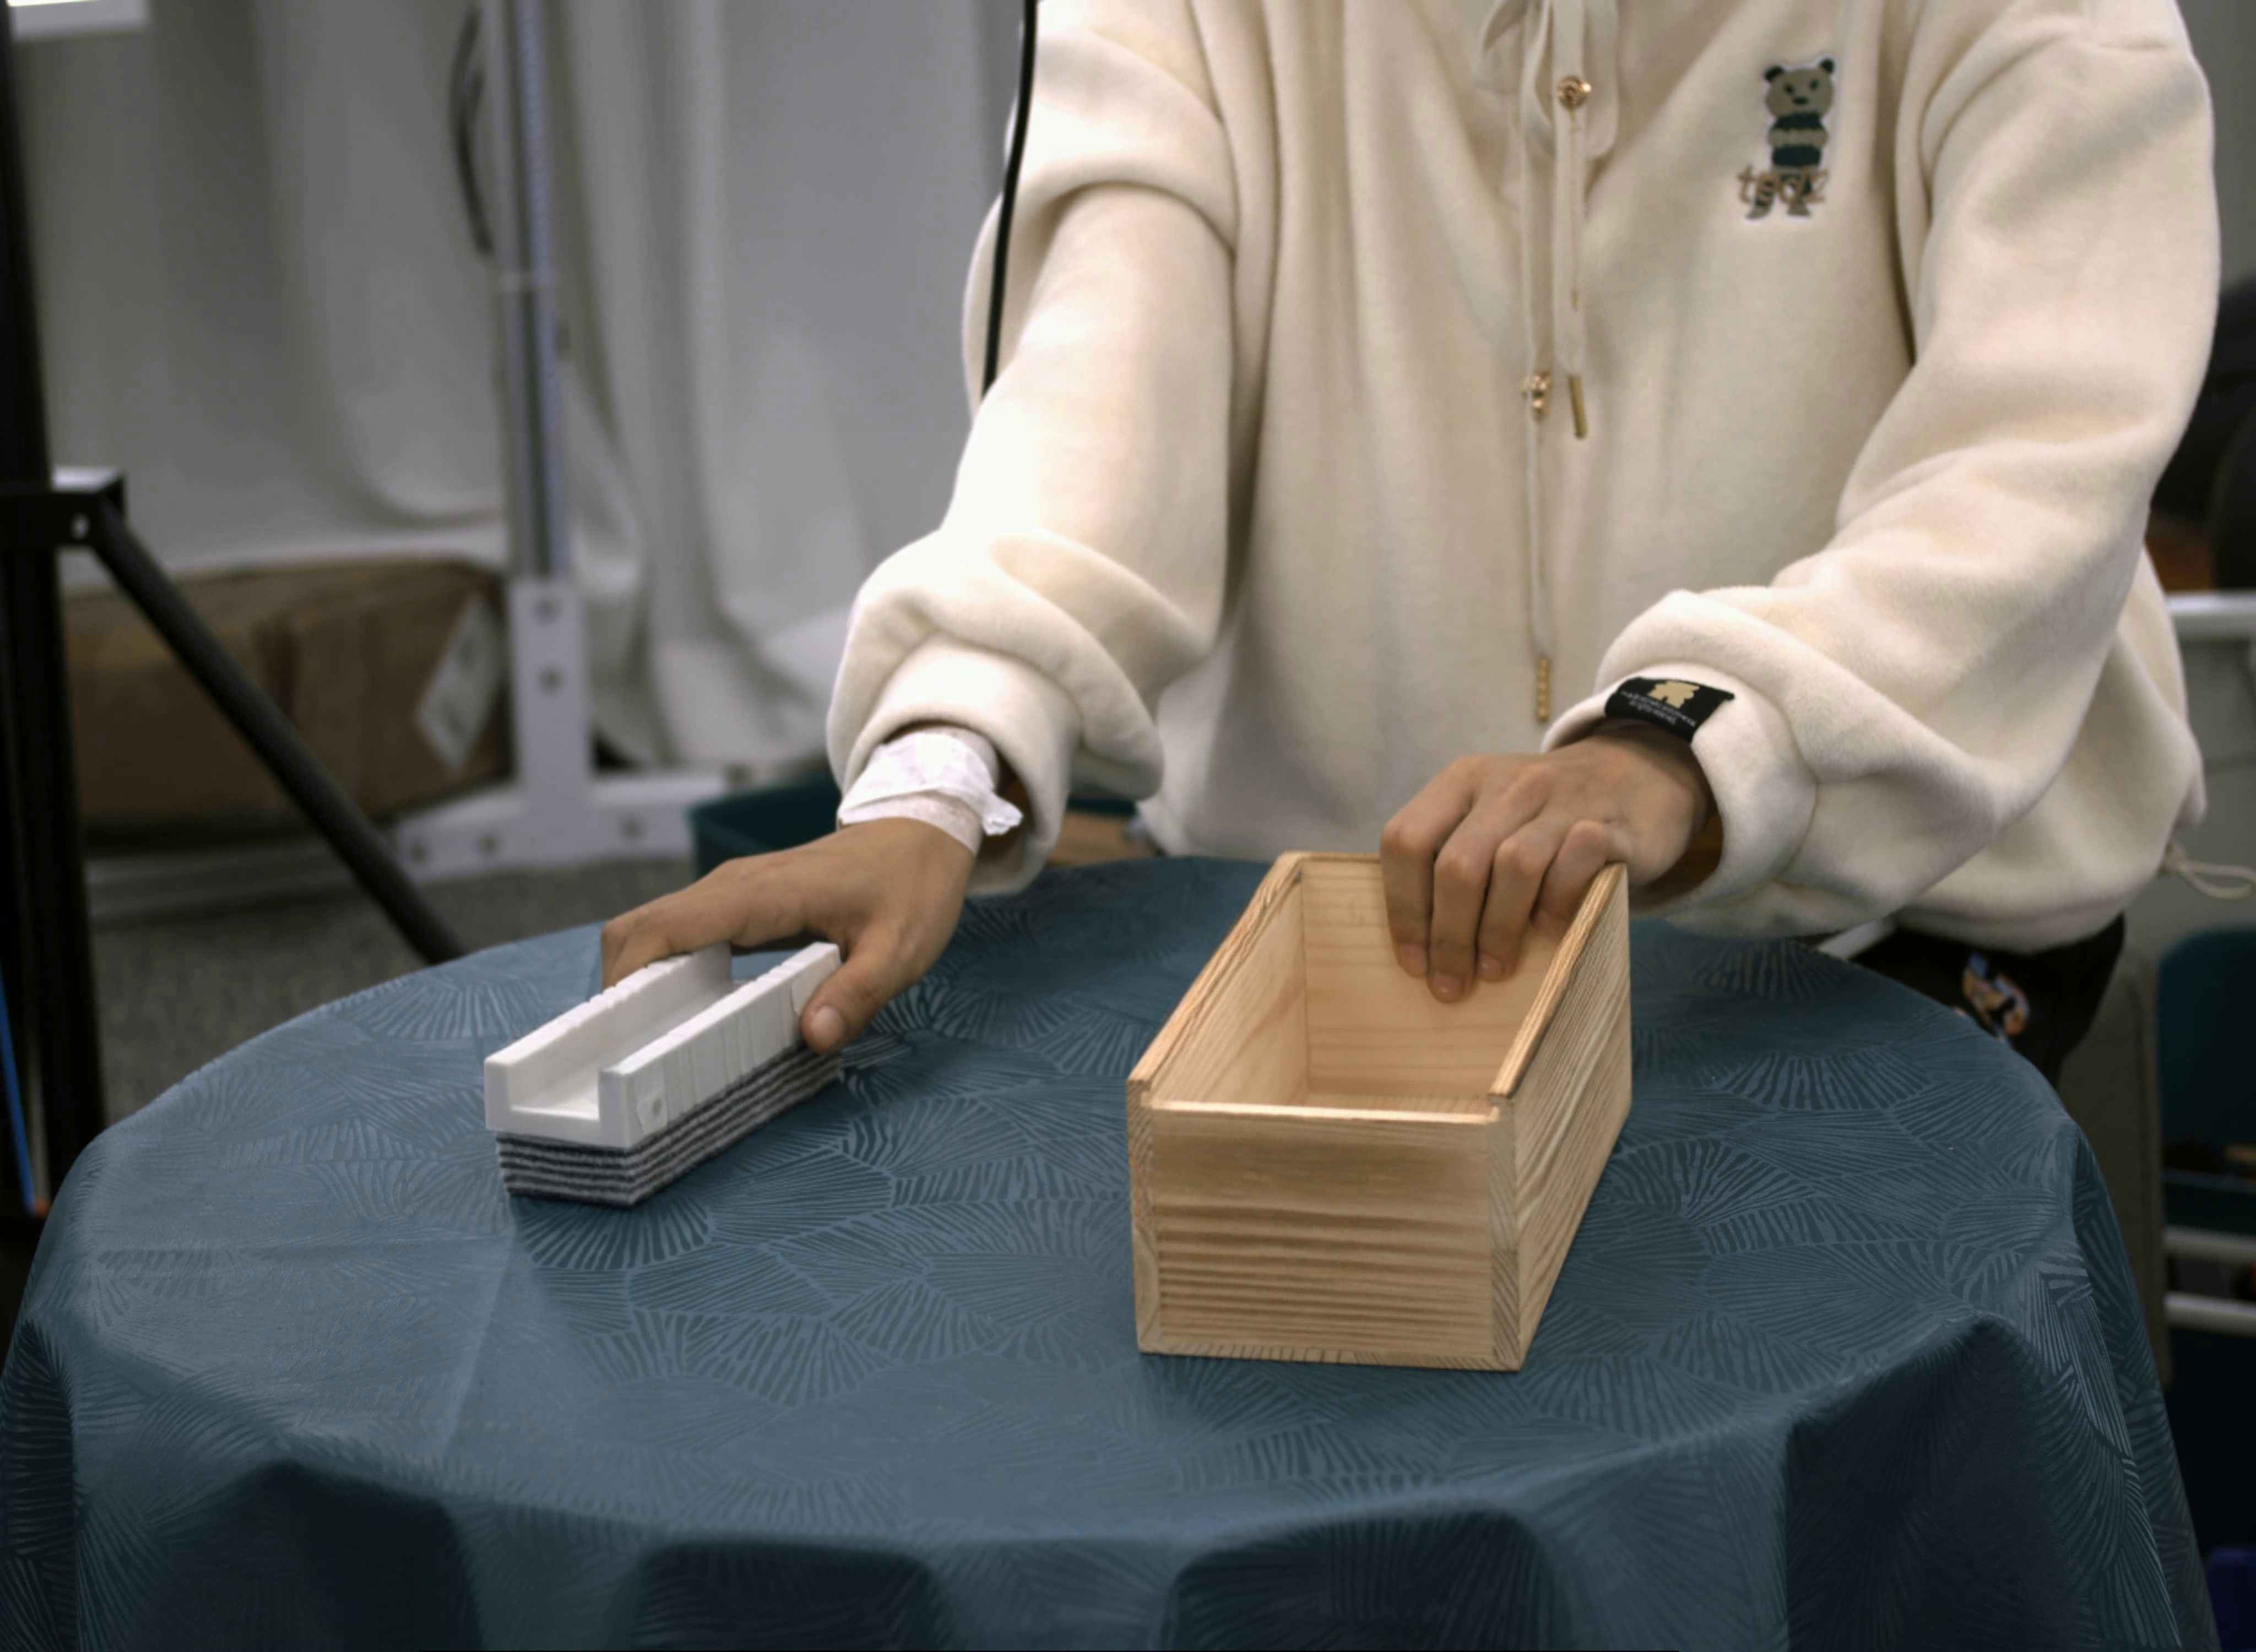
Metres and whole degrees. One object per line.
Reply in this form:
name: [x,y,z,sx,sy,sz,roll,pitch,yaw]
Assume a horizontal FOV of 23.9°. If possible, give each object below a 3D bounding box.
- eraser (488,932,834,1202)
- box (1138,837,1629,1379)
eraser: [-0.140,0.072,1.622,0.050,0.046,0.132,2,17,24]
box: [0.076,0.076,1.505,0.108,0.080,0.210,2,18,12]
